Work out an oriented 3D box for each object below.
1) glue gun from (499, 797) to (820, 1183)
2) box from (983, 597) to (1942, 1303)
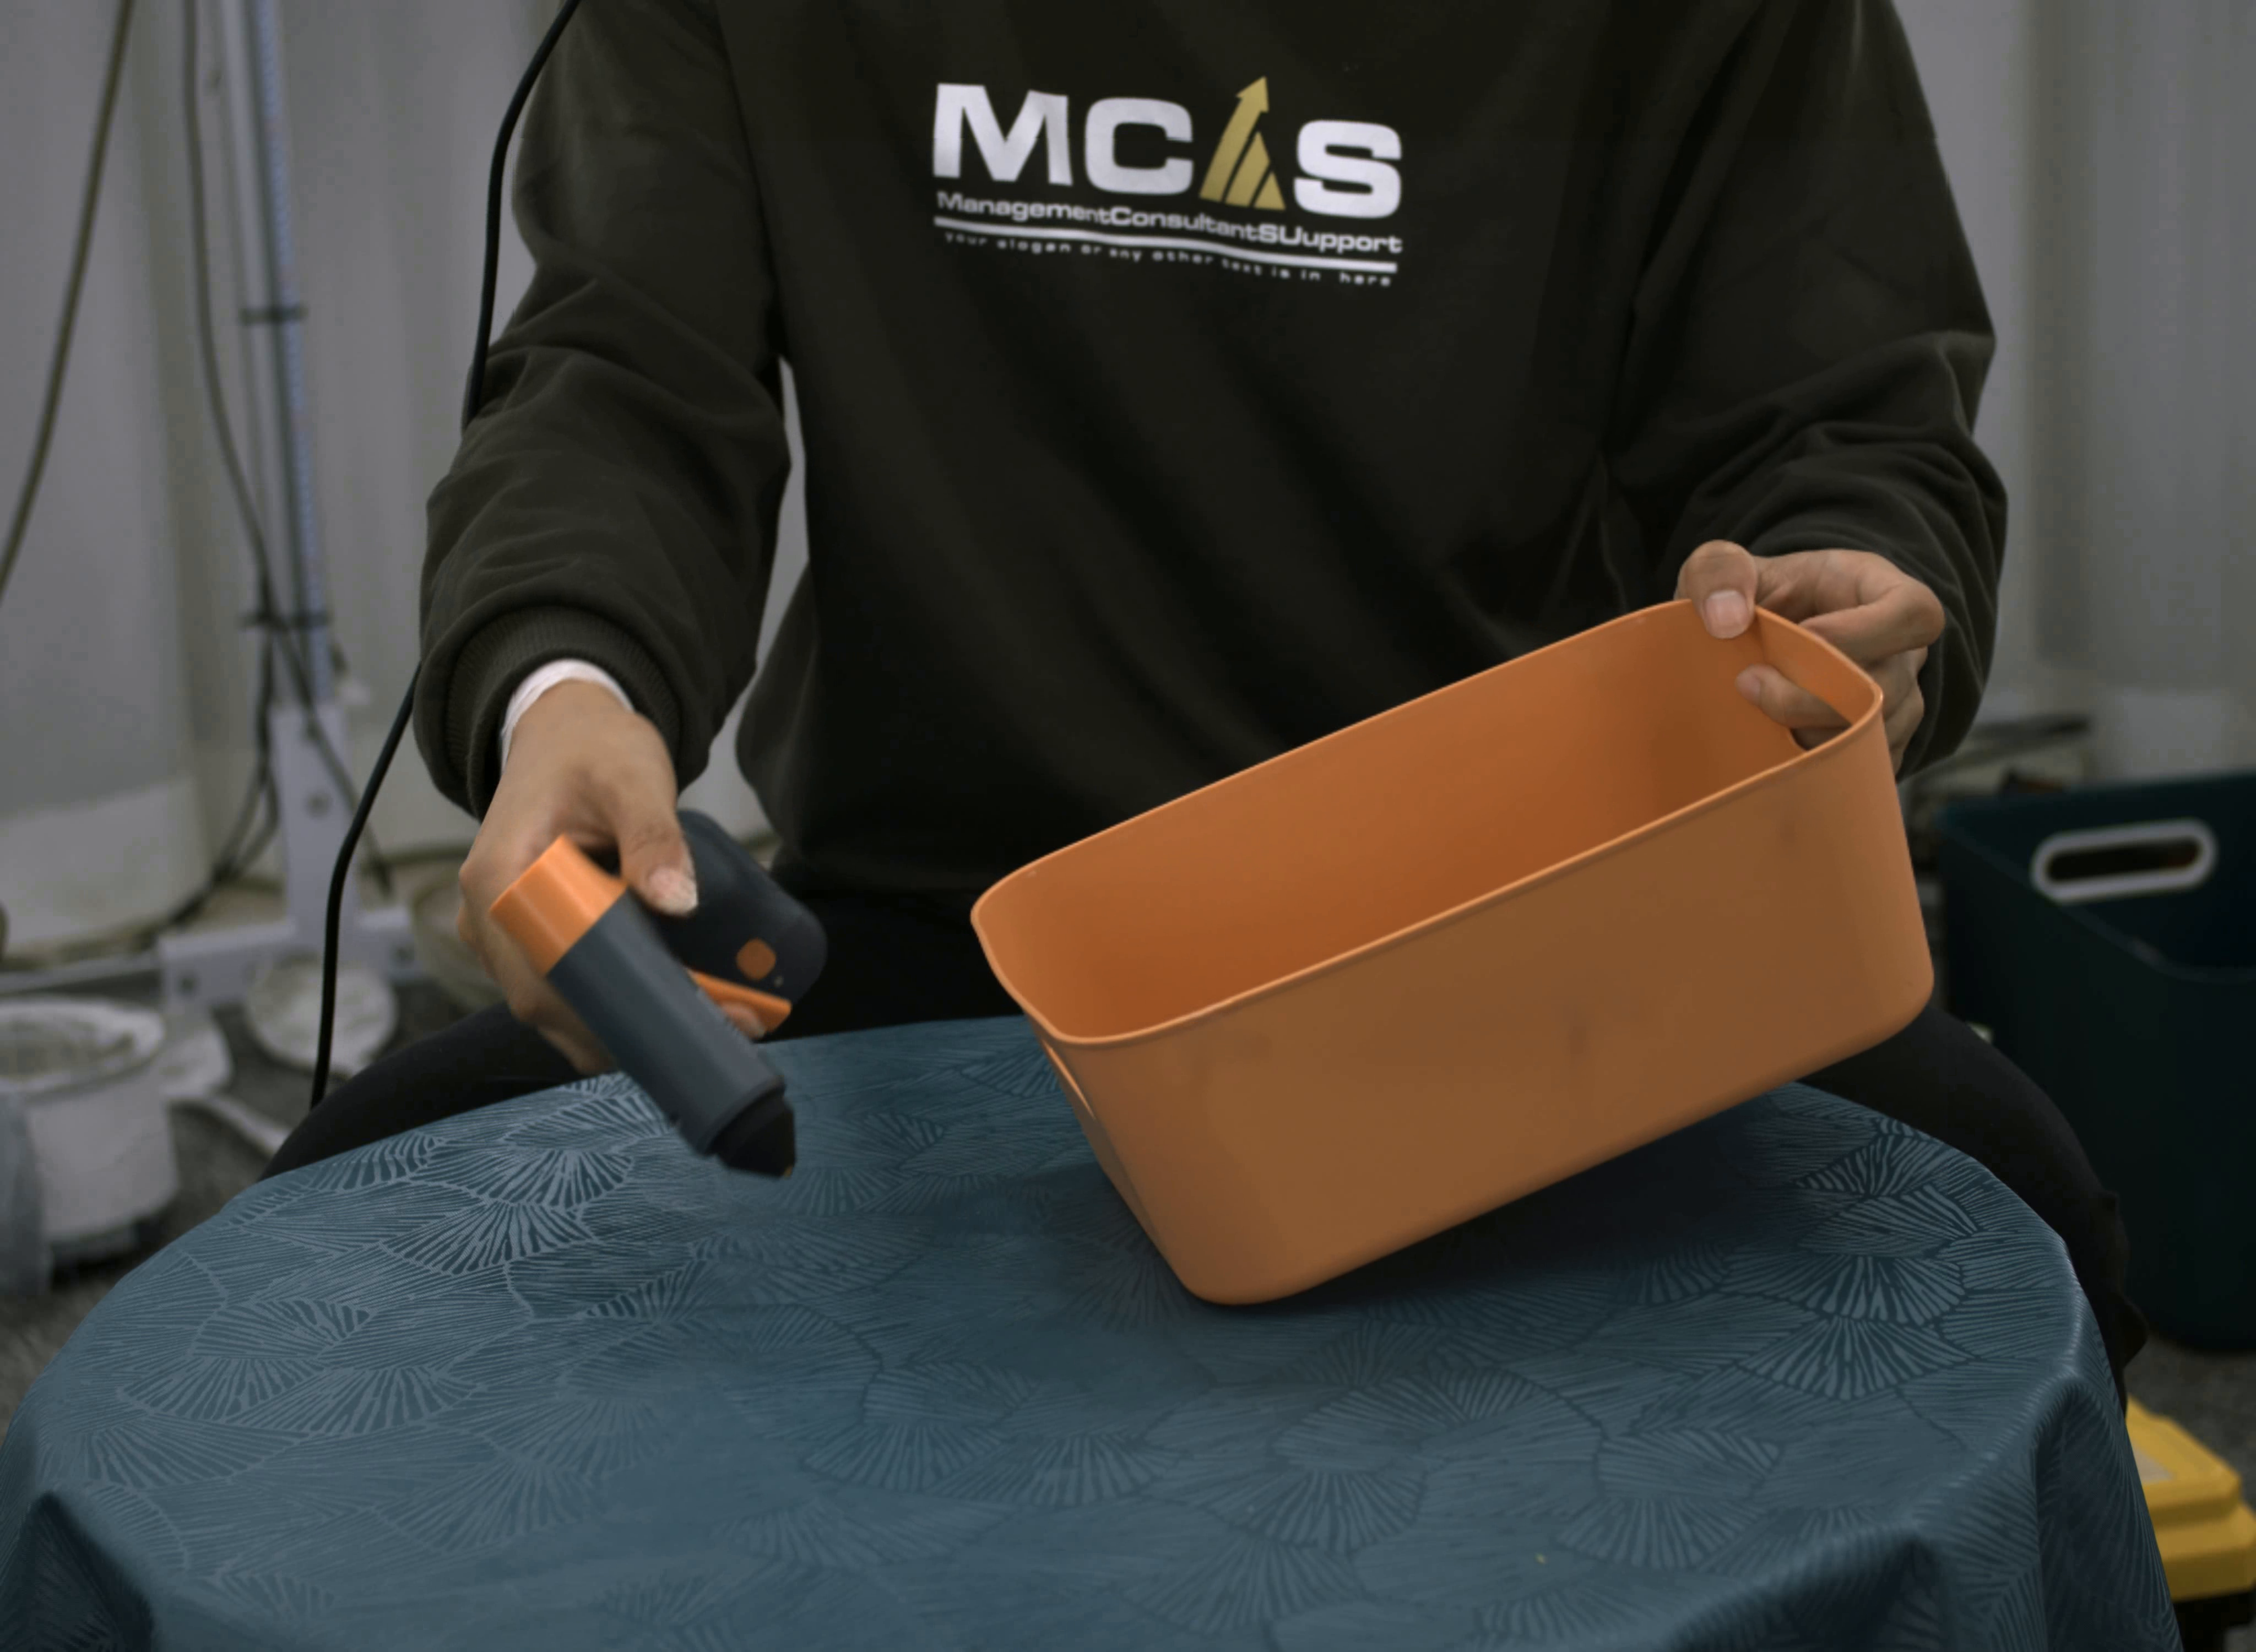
[{"bbox_3d":[-0.133,0.046,1.659,0.041,0.118,0.140,-41,6,15],"label":"glue gun"},{"bbox_3d":[0.104,0.038,1.673,0.272,0.102,0.201,-23,17,-7],"label":"box"}]
